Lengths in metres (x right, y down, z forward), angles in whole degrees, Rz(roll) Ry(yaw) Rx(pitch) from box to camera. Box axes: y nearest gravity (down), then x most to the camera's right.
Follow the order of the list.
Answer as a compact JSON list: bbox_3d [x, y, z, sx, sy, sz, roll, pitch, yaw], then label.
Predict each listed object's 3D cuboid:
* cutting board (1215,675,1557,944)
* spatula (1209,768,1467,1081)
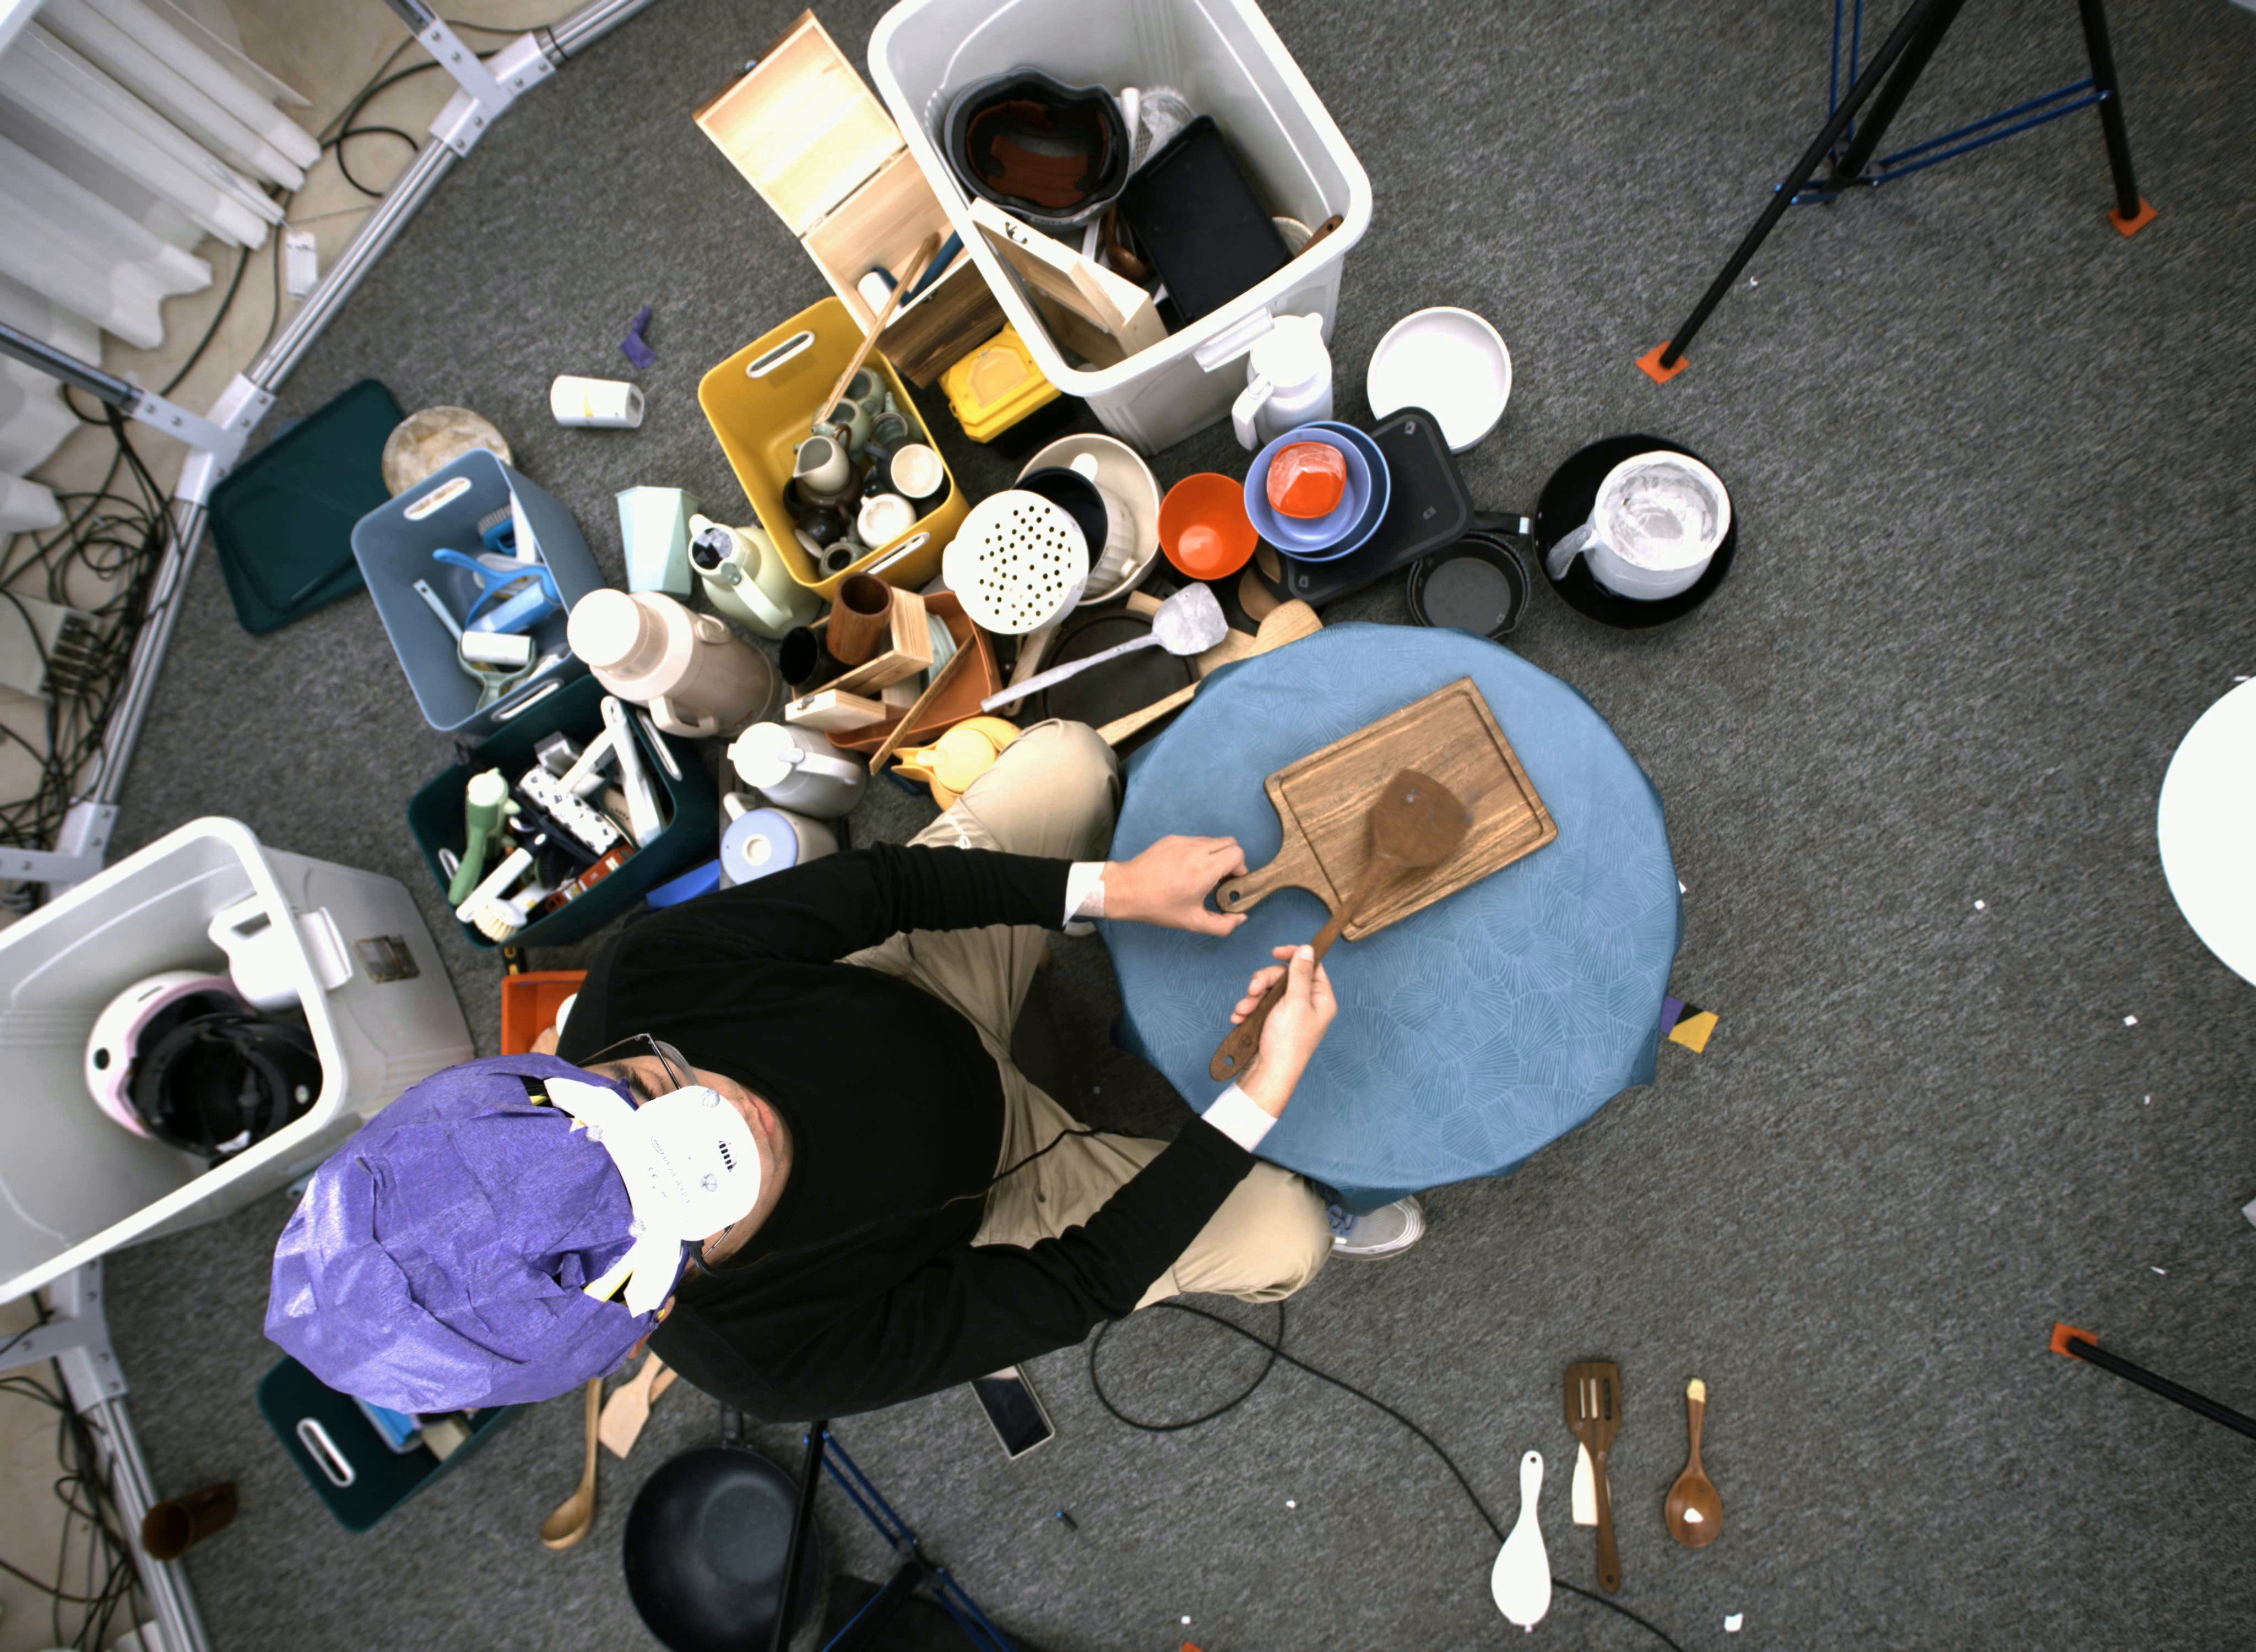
[{"bbox_3d":[0.247,0.002,1.433,0.352,0.023,0.200,-27,82,0],"label":"cutting board"},{"bbox_3d":[0.198,0.096,1.346,0.096,0.016,0.380,38,72,7],"label":"spatula"}]
